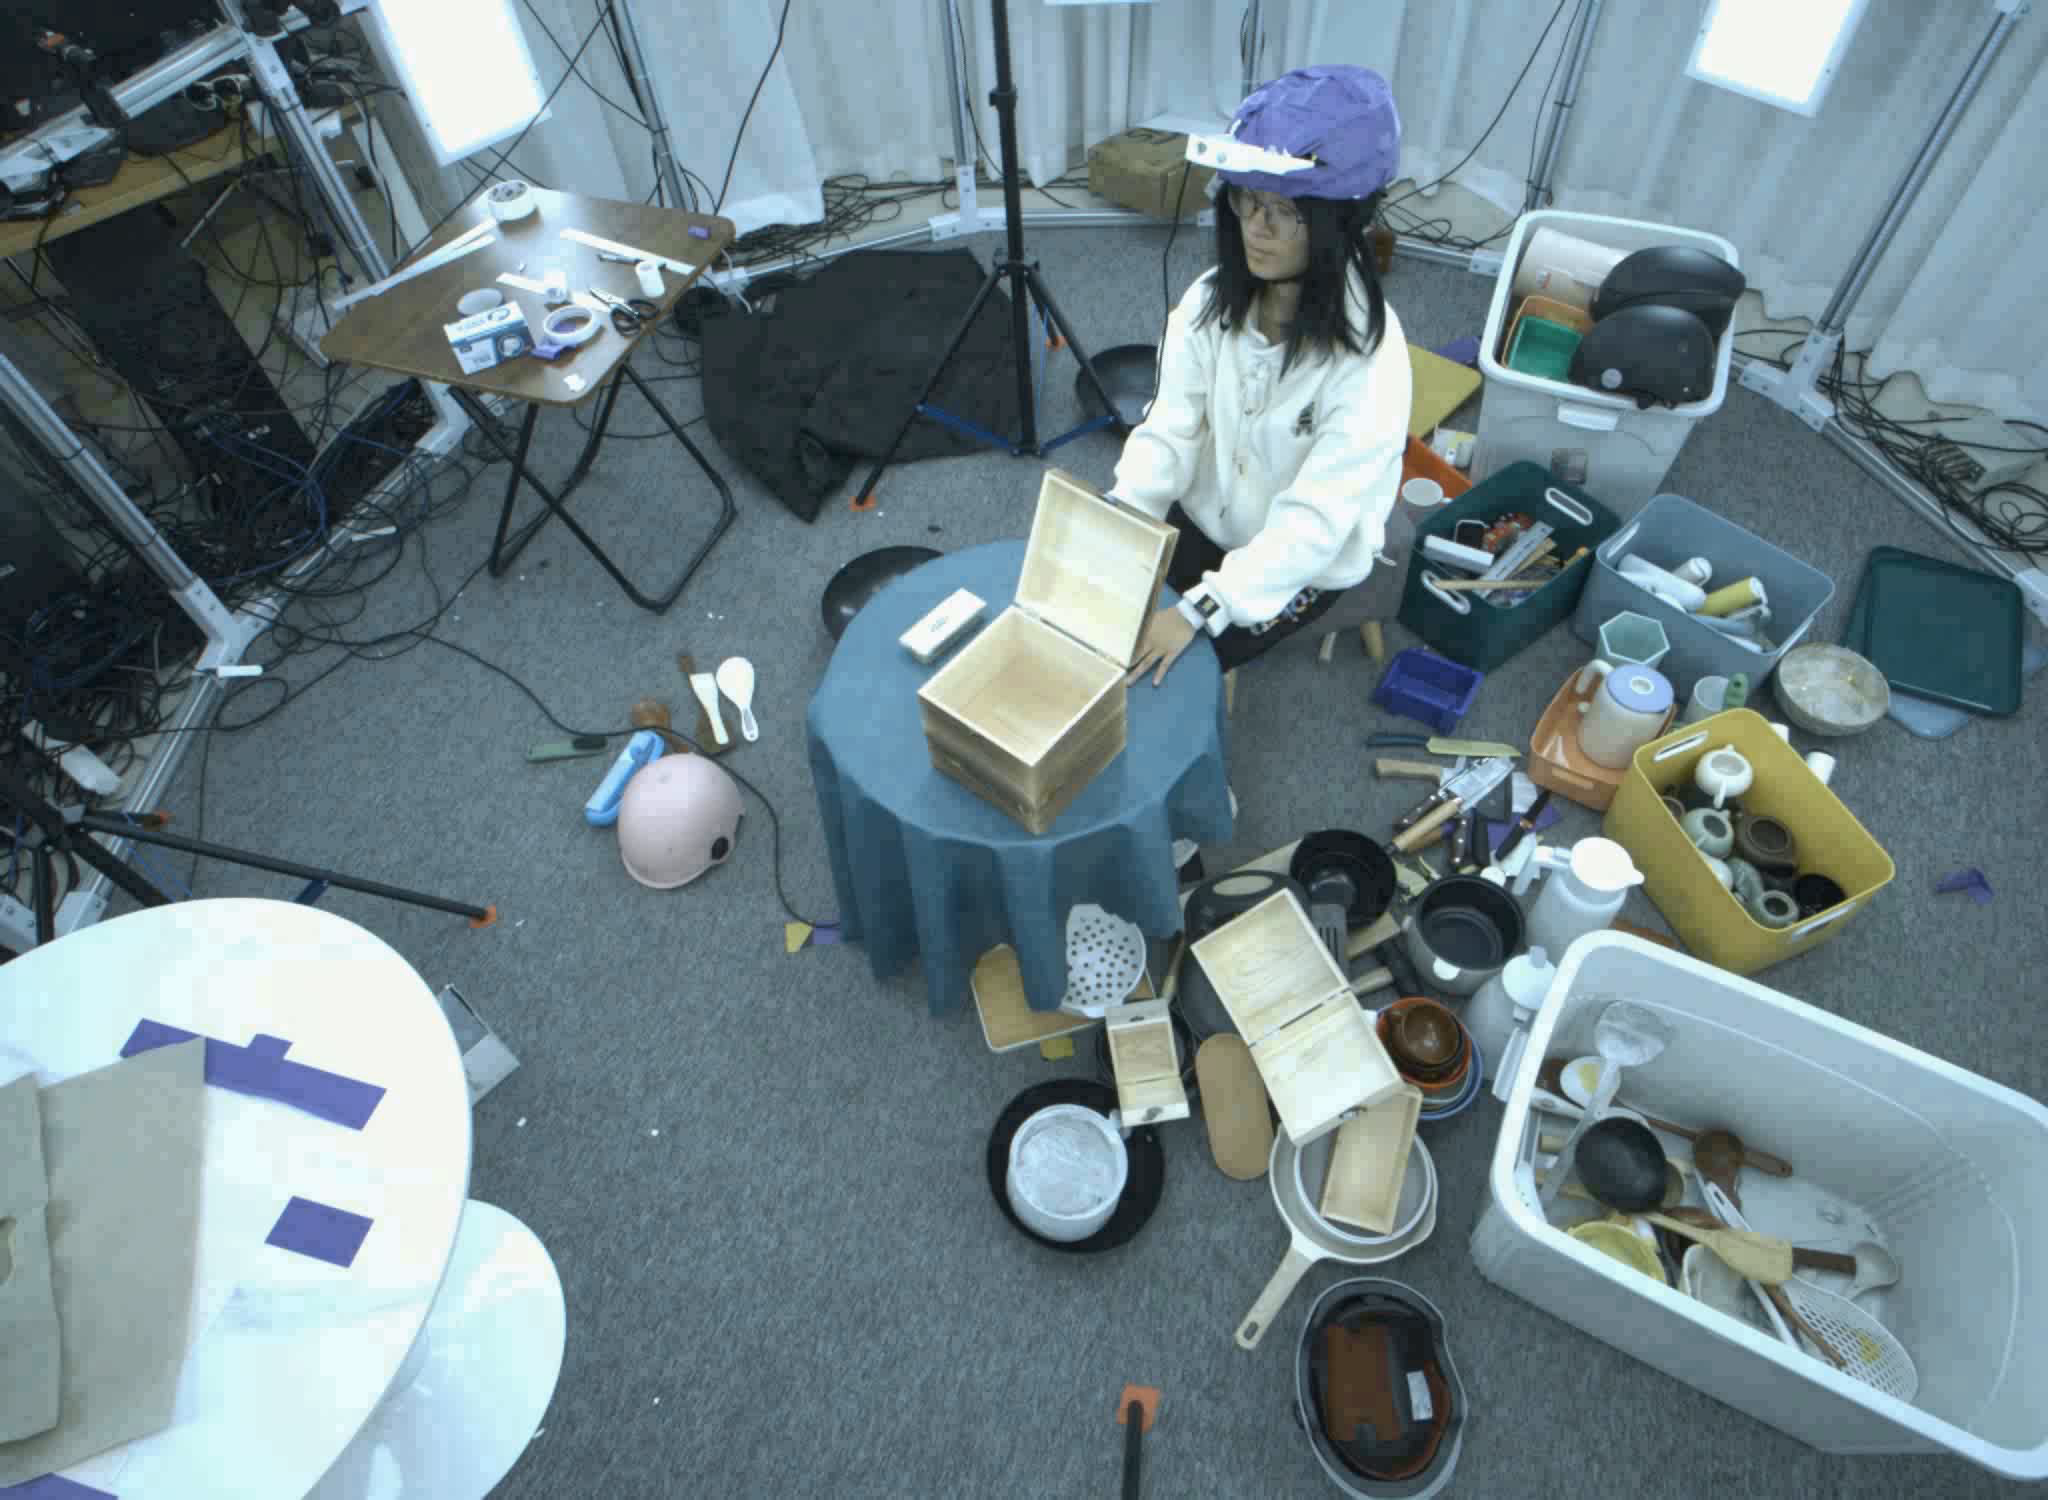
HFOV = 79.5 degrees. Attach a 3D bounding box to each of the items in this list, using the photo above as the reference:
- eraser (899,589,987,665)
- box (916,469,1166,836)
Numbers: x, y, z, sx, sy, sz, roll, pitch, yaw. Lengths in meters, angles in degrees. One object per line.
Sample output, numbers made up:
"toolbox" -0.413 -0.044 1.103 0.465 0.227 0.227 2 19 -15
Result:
"eraser" -0.125 -0.193 1.911 0.056 0.029 0.140 35 62 27
"box" 0.026 -0.132 1.657 0.205 0.380 0.324 31 62 24
